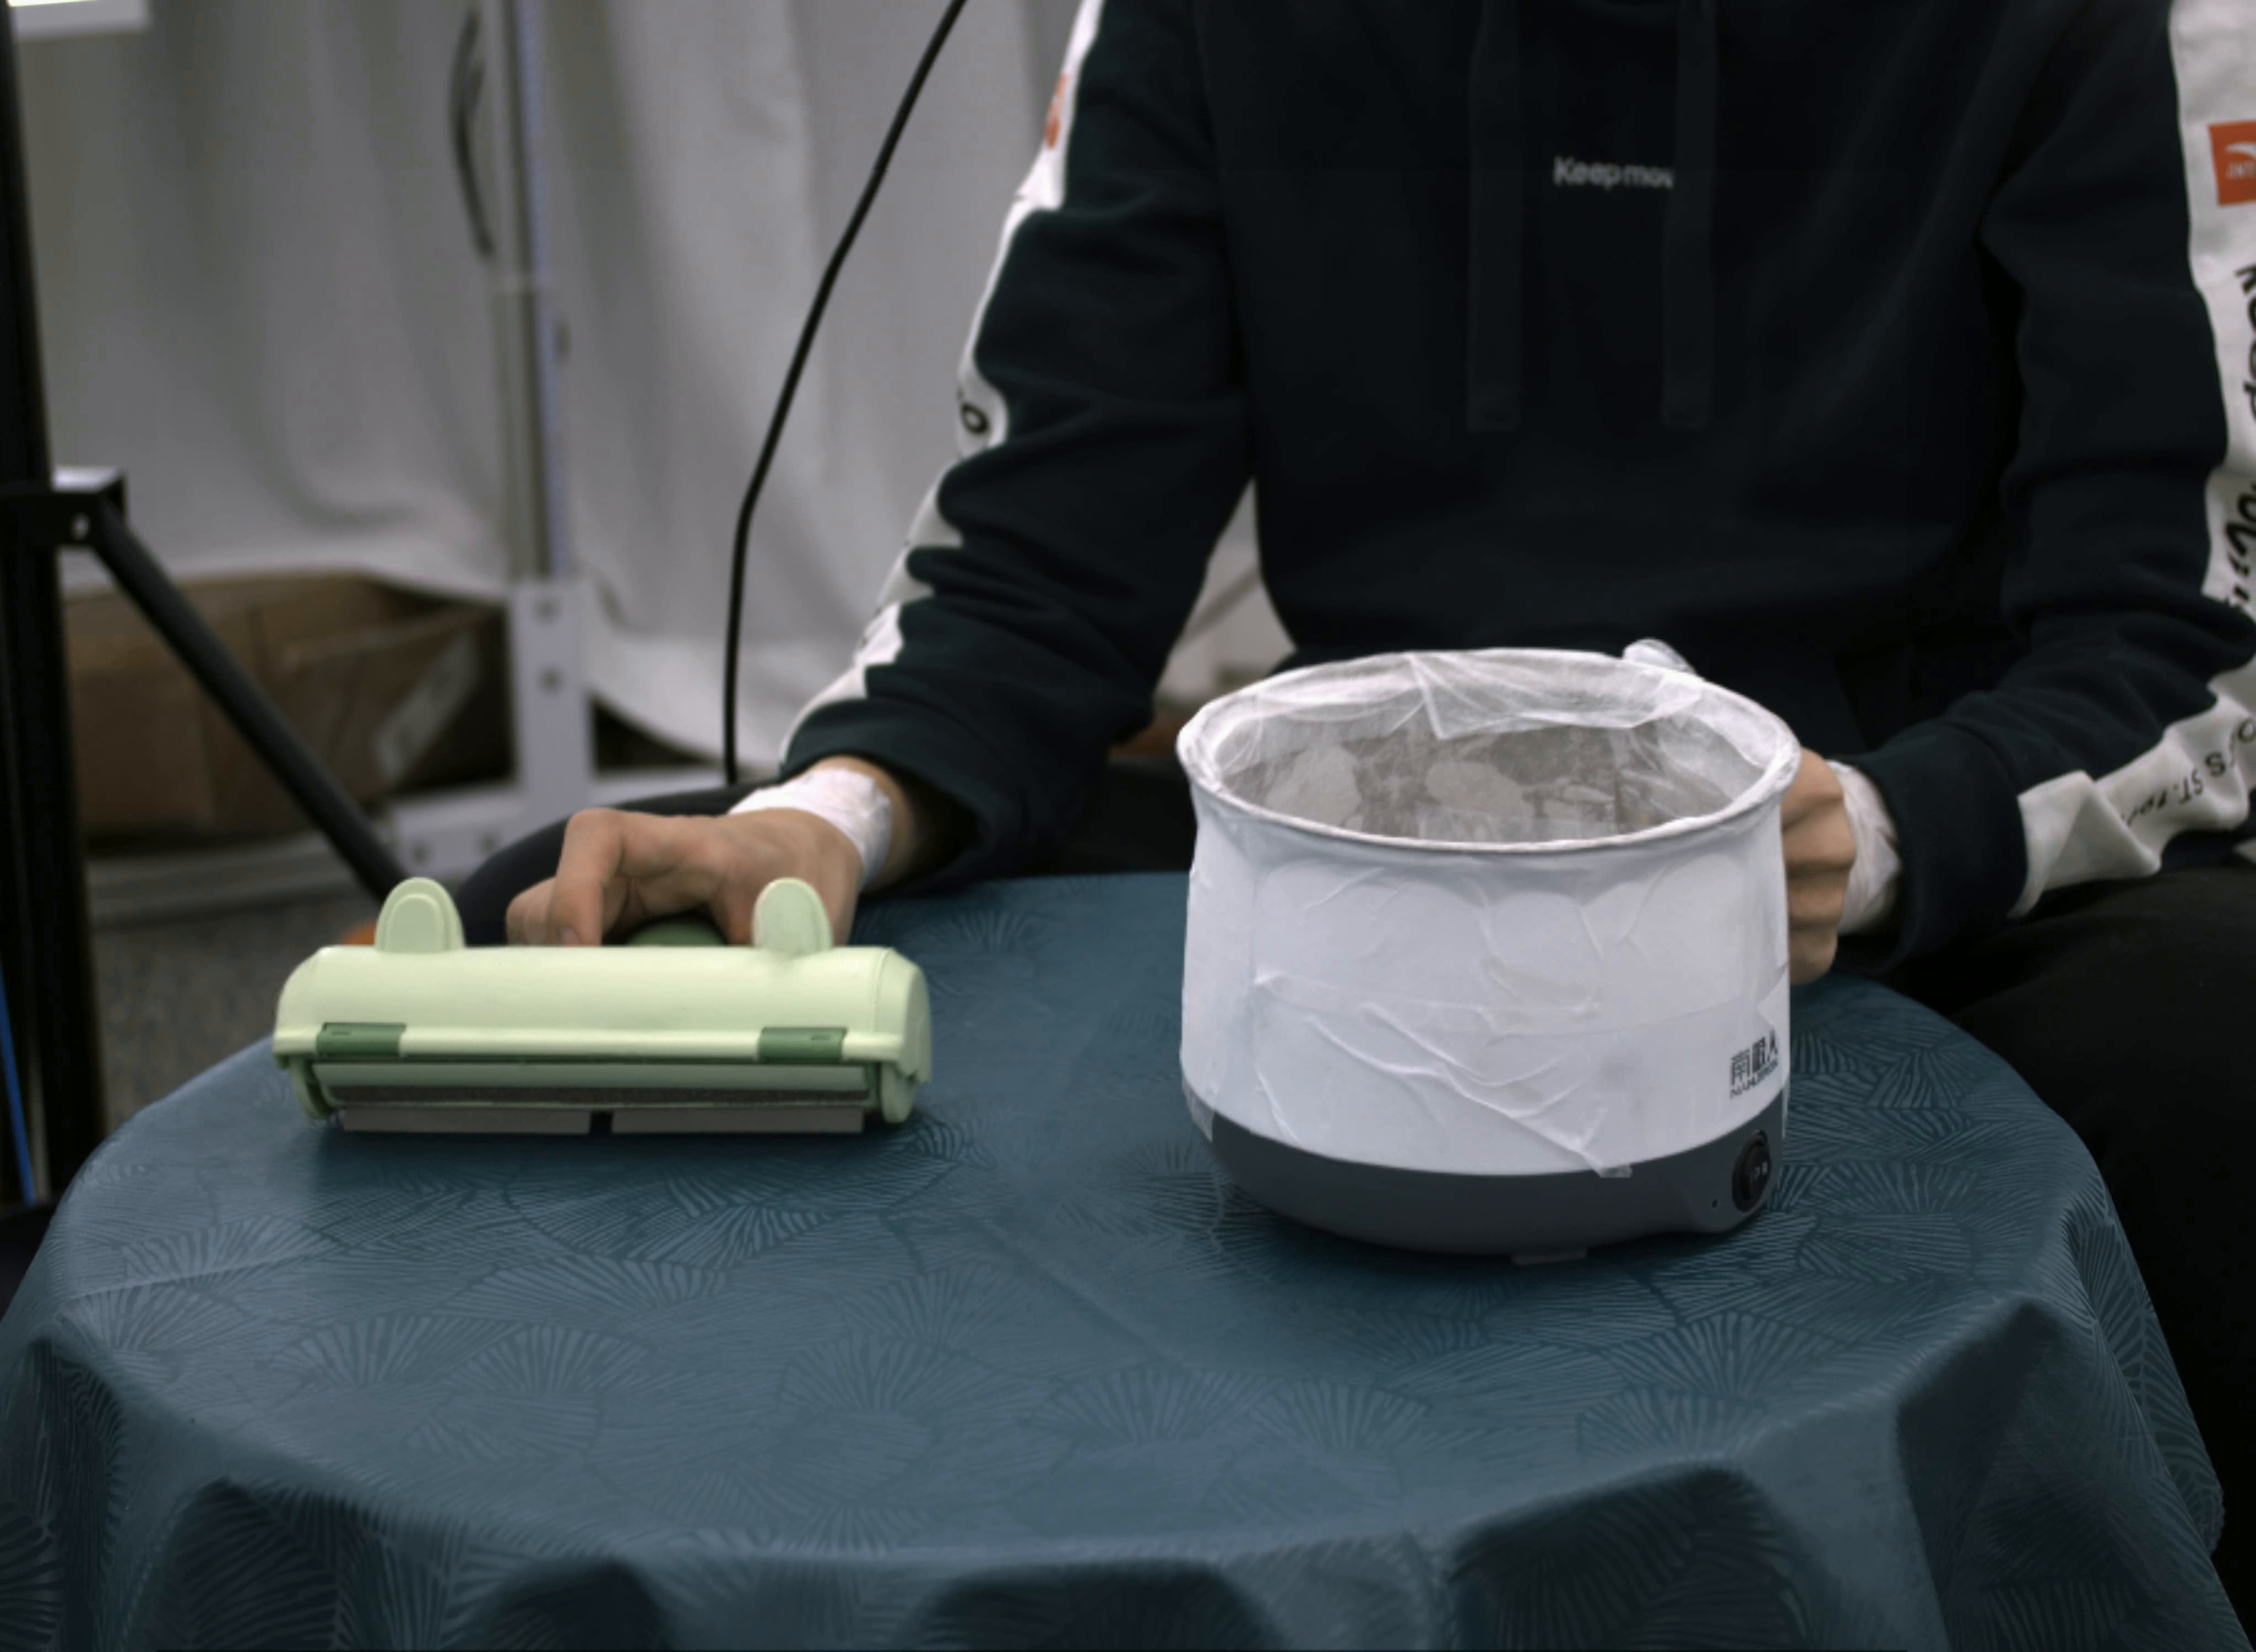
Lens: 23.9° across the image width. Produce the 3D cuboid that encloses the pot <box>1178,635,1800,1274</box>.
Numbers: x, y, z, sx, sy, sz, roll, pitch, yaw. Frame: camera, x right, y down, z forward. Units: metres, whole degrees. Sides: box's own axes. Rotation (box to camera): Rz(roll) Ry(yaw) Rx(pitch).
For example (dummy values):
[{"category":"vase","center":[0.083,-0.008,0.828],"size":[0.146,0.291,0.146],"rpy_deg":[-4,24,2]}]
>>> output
[{"category":"pot","center":[0.117,0.029,1.545],"size":[0.182,0.136,0.229],"rpy_deg":[11,23,31]}]

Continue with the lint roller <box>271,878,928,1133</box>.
[{"category":"lint roller","center":[-0.153,0.039,1.683],"size":[0.199,0.082,0.183],"rpy_deg":[0,20,10]}]
